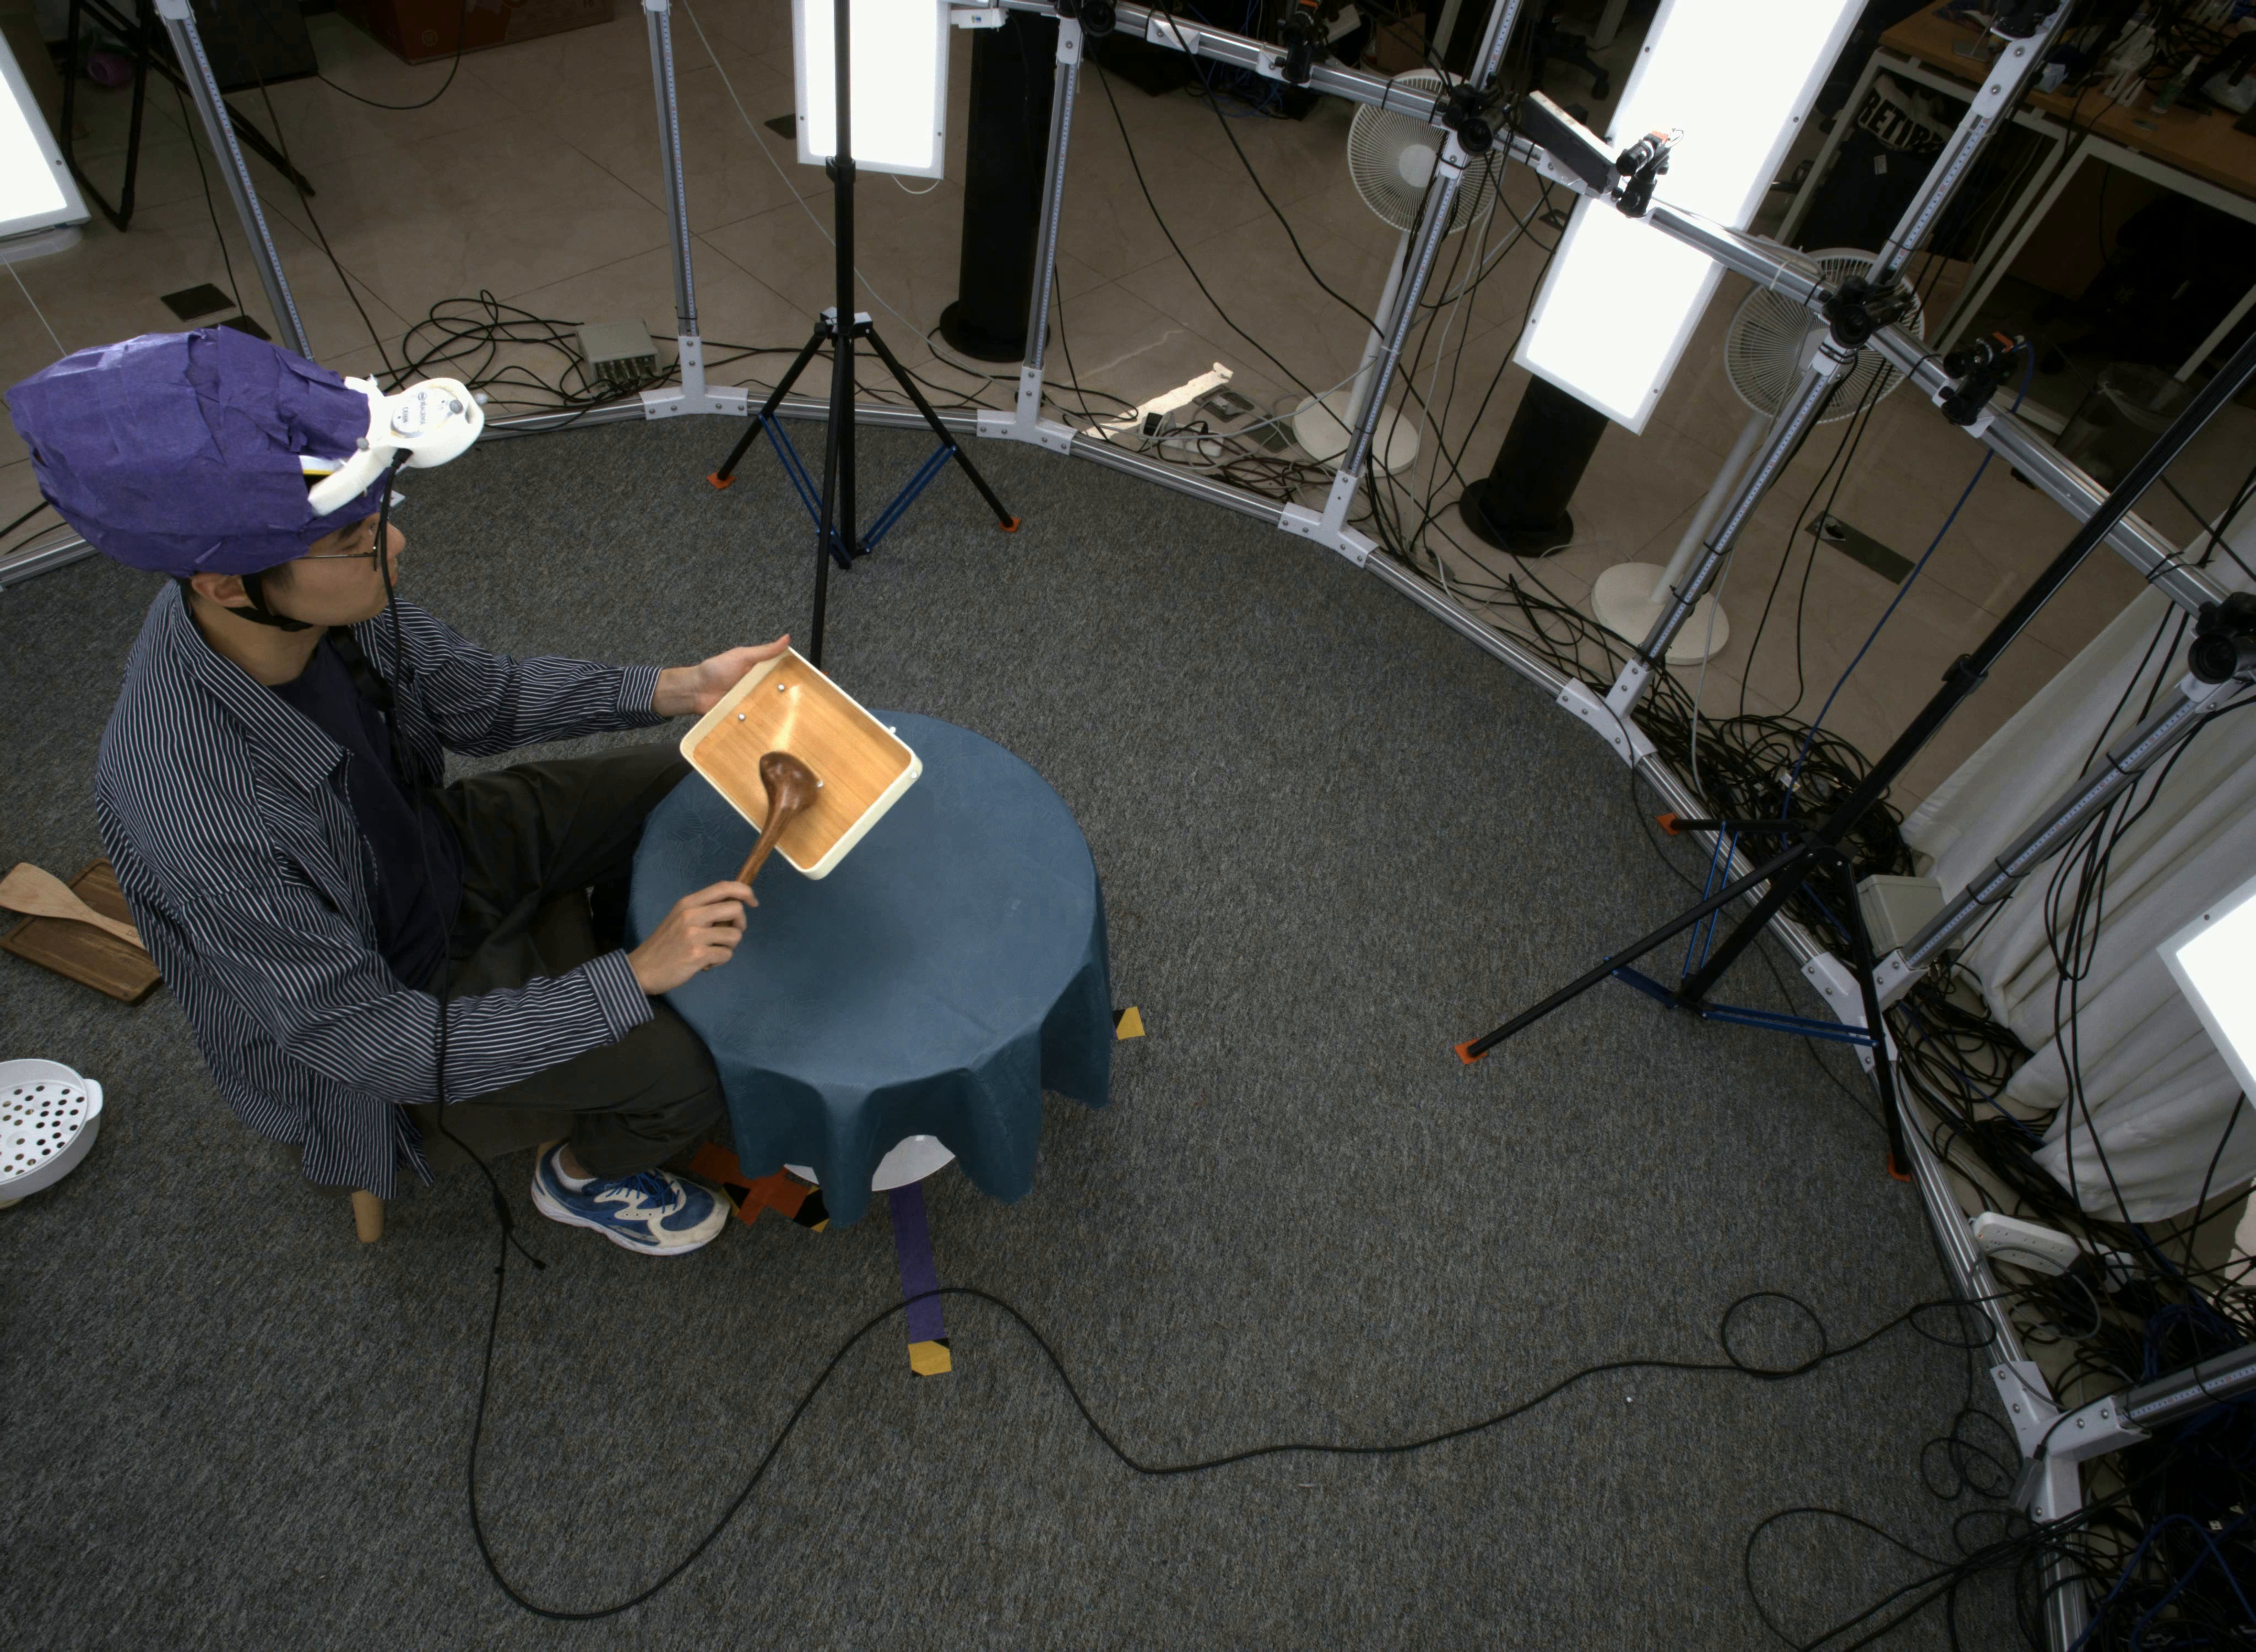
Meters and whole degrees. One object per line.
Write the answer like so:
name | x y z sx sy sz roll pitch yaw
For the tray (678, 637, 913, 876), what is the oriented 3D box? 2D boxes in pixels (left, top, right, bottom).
tray | -0.407 -0.090 1.564 0.290 0.028 0.192 39 83 29

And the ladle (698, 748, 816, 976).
ladle | -0.437 0.036 1.476 0.084 0.074 0.274 32 73 -32
